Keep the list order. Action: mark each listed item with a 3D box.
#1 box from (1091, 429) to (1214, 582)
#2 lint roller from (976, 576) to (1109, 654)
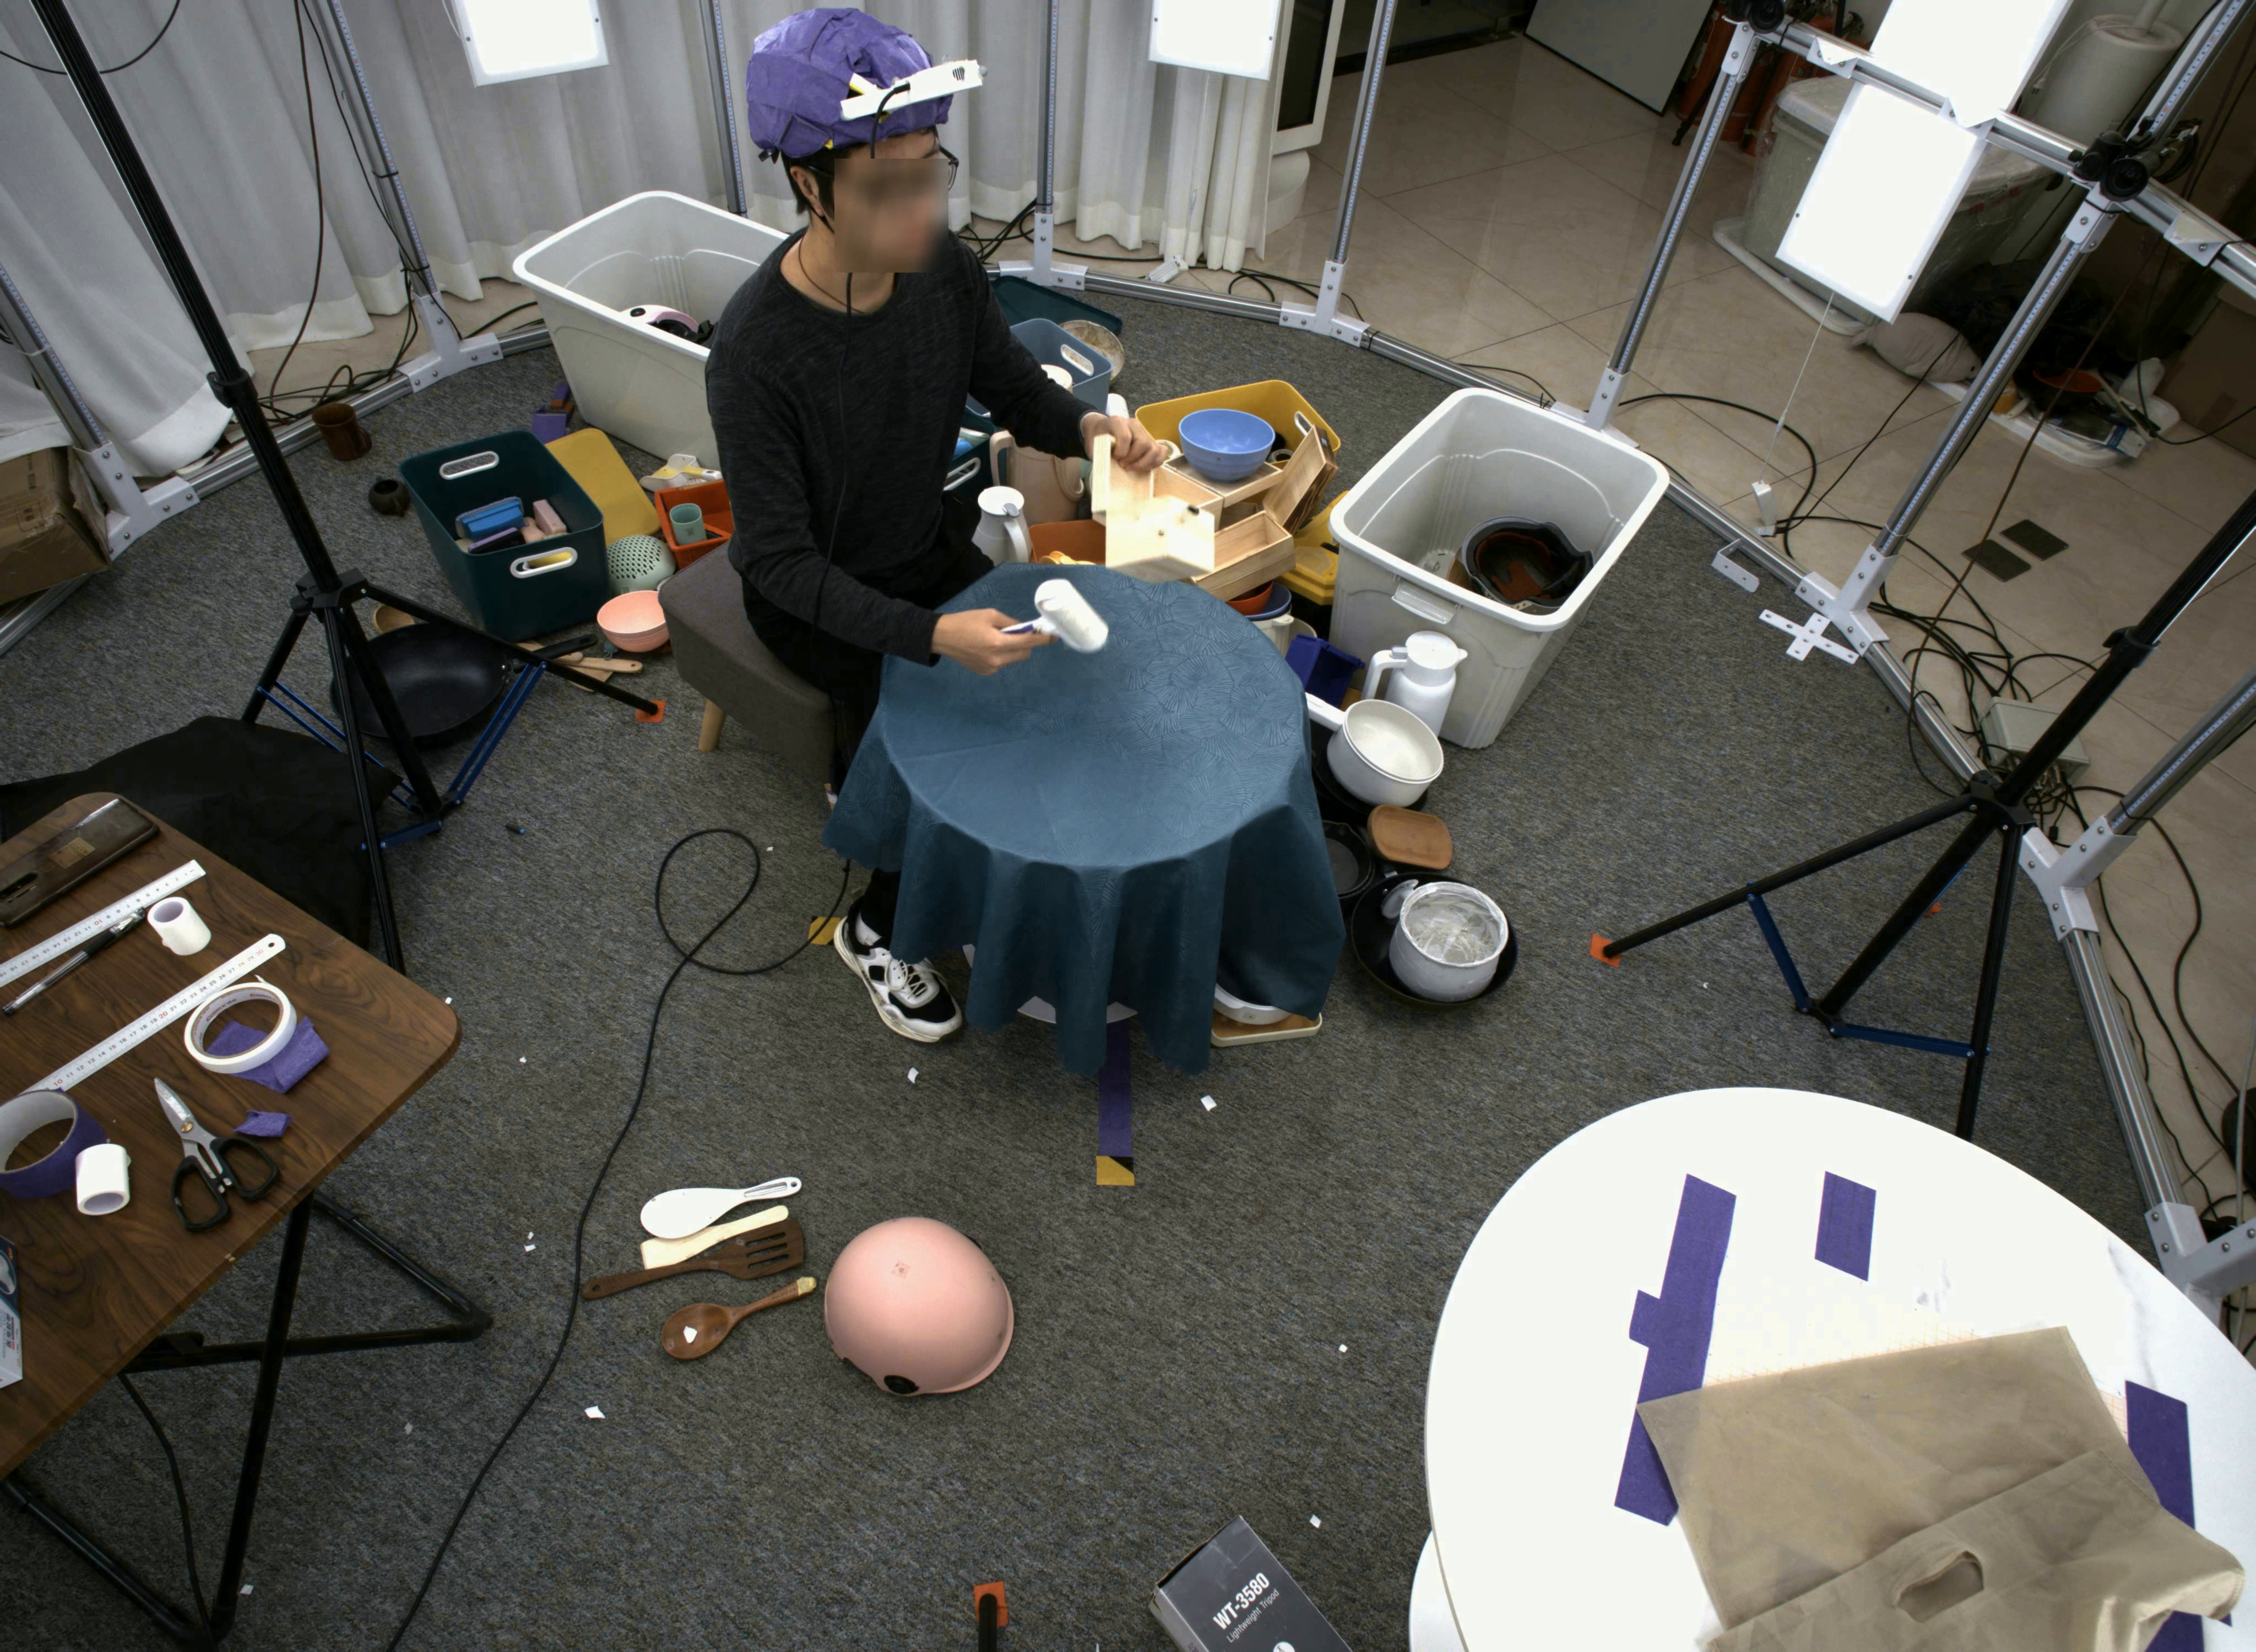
[{"bbox_3d":[0.035,-0.424,1.671,0.134,0.101,0.186,-6,79,38],"label":"box"},{"bbox_3d":[-0.126,-0.260,1.713,0.180,0.130,0.051,-24,57,18],"label":"lint roller"}]
